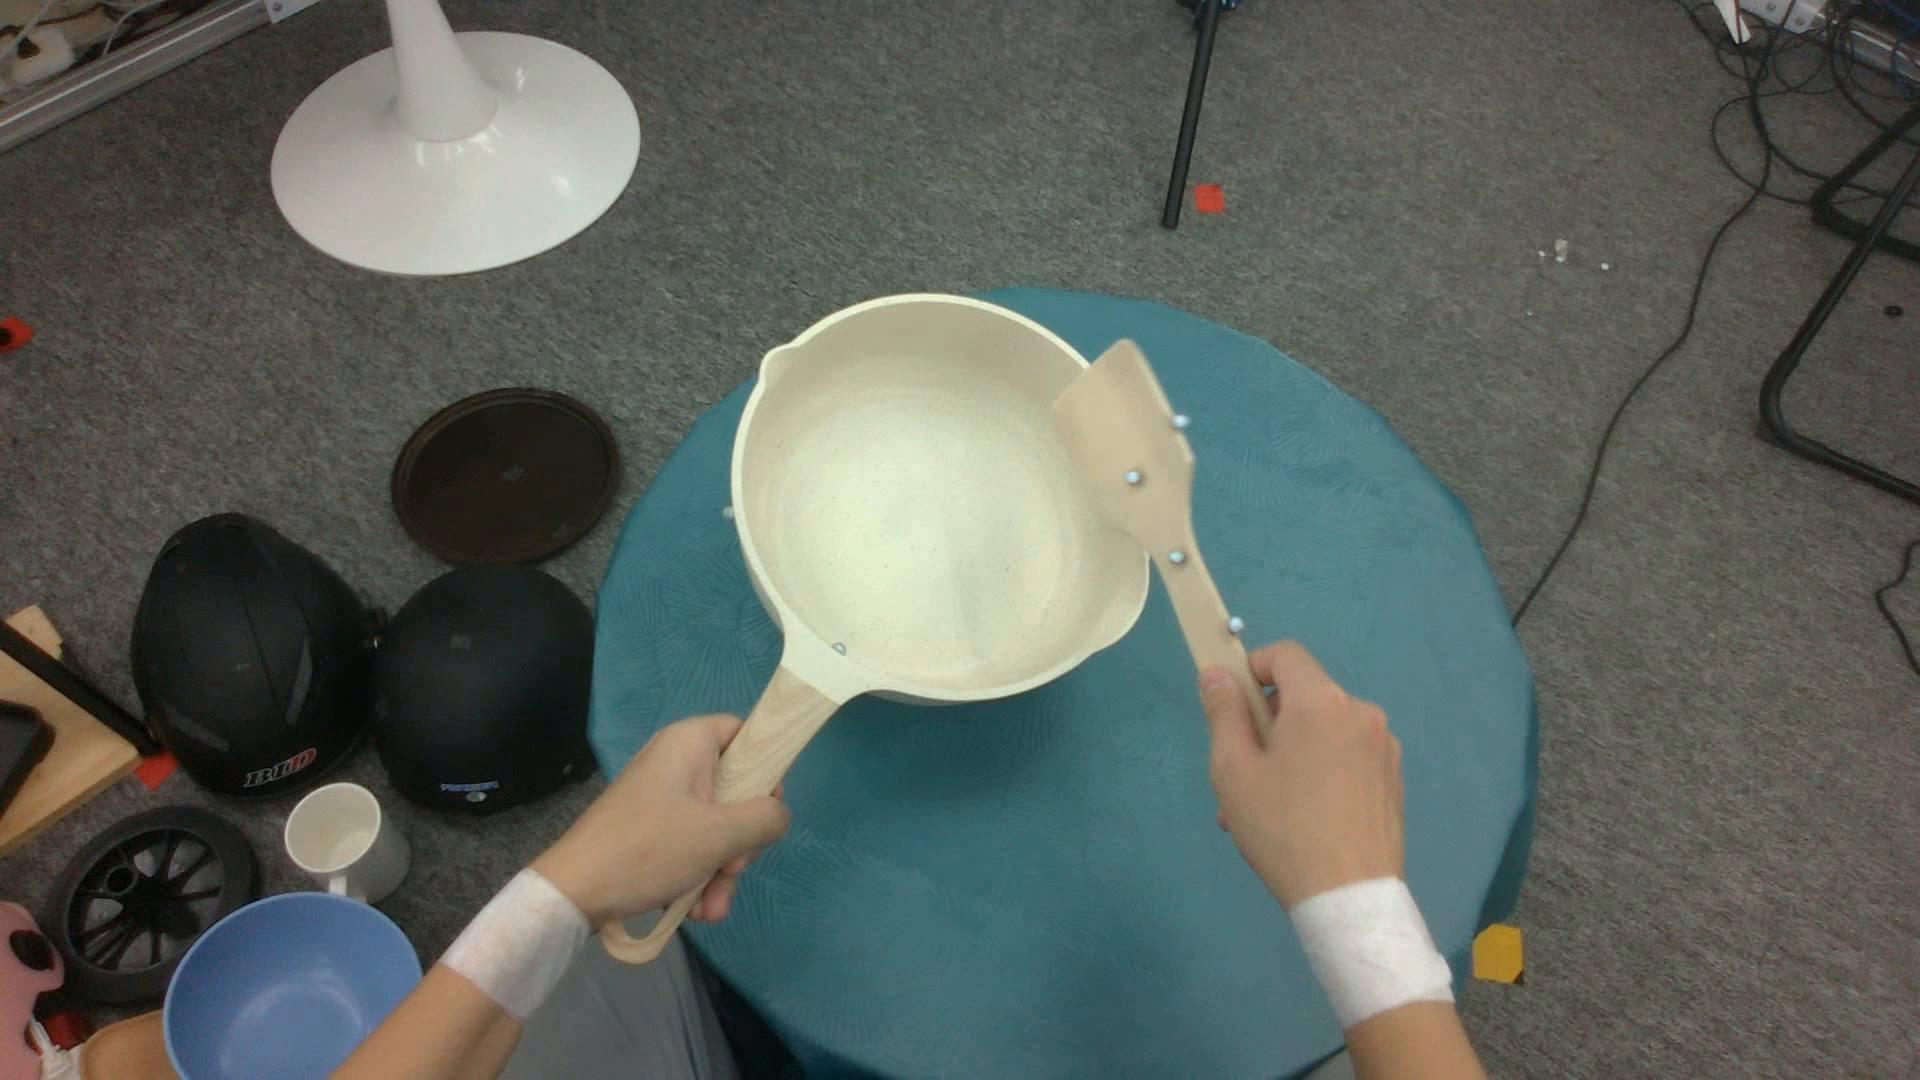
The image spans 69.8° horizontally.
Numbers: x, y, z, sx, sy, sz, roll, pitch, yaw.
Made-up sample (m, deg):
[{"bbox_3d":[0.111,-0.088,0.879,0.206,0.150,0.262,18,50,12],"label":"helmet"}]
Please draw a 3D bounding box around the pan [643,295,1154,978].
[{"bbox_3d":[-0.055,0.051,0.793,0.263,0.101,0.436,33,66,-3],"label":"pan"}]

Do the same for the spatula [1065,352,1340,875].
[{"bbox_3d":[0.129,0.034,0.721,0.011,0.072,0.294,6,53,-43],"label":"spatula"}]
